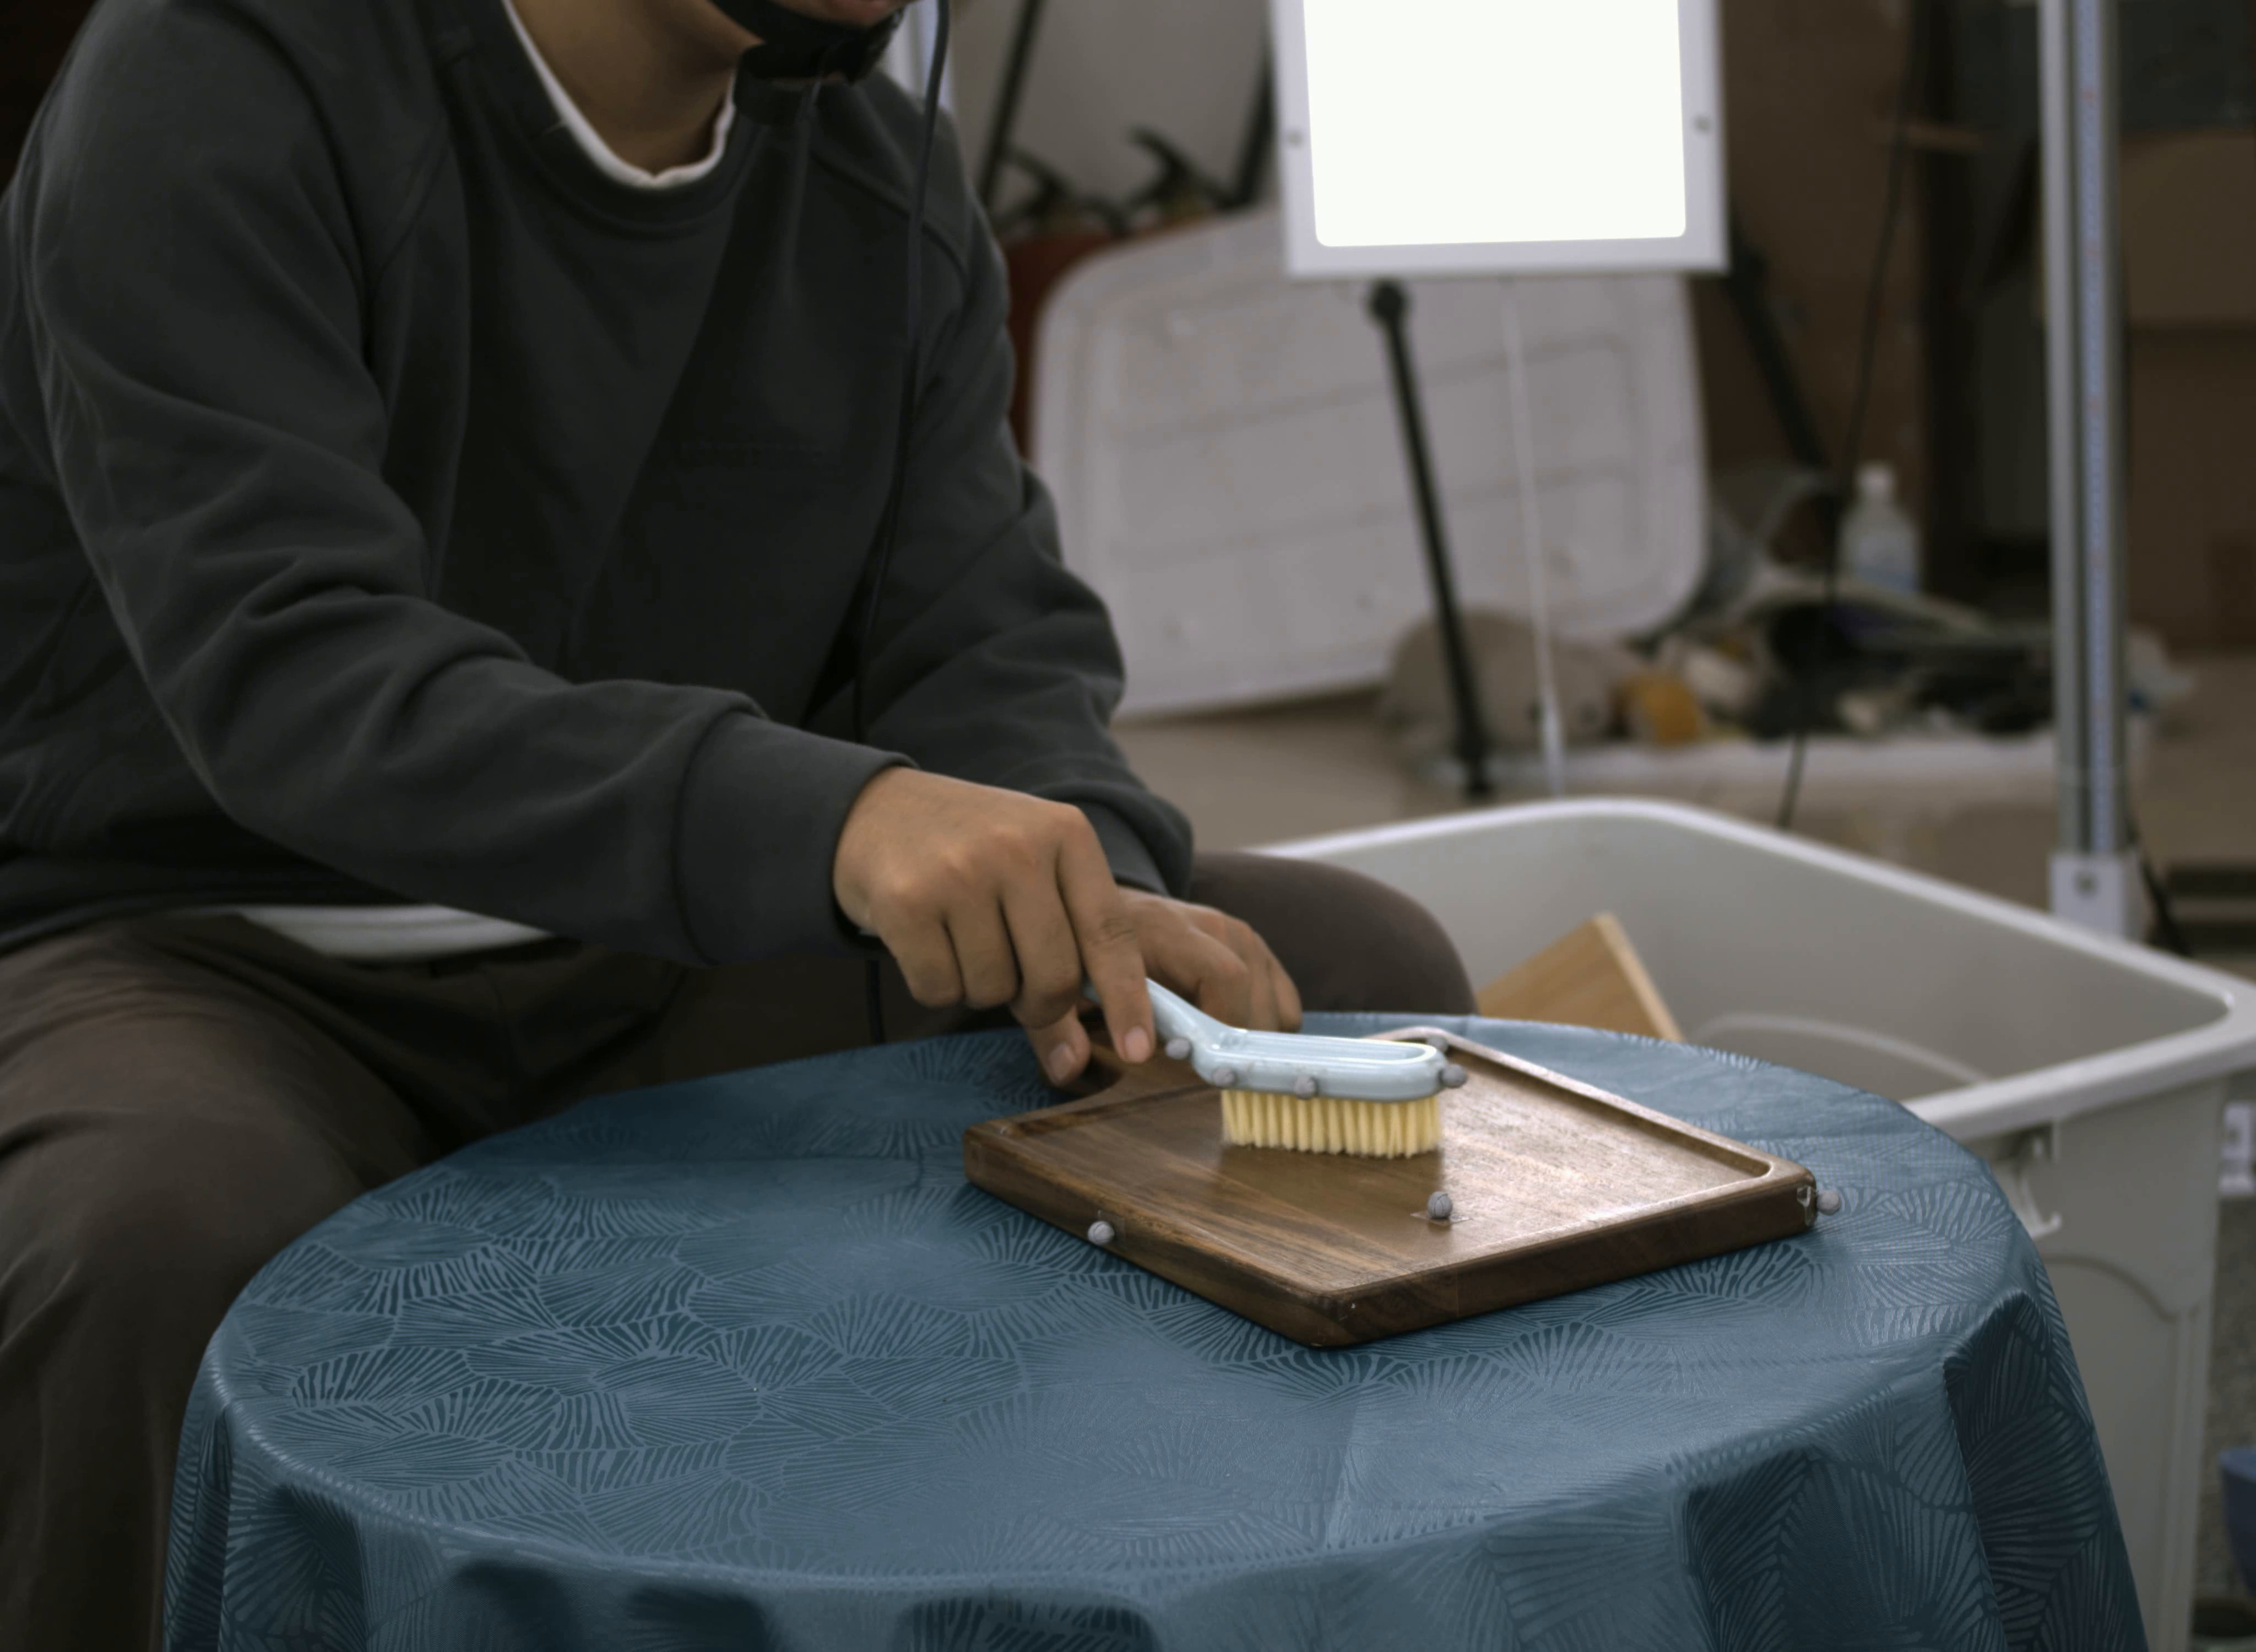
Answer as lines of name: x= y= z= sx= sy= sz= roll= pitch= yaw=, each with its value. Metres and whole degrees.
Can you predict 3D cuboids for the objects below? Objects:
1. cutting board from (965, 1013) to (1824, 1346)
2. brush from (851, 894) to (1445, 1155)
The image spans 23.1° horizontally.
cutting board: x=0.063 y=0.109 z=1.904 sx=0.197 sy=0.023 sz=0.358 roll=-11 pitch=15 yaw=-26
brush: x=0.004 y=0.070 z=1.913 sx=0.232 sy=0.050 sz=0.037 roll=18 pitch=23 yaw=25
